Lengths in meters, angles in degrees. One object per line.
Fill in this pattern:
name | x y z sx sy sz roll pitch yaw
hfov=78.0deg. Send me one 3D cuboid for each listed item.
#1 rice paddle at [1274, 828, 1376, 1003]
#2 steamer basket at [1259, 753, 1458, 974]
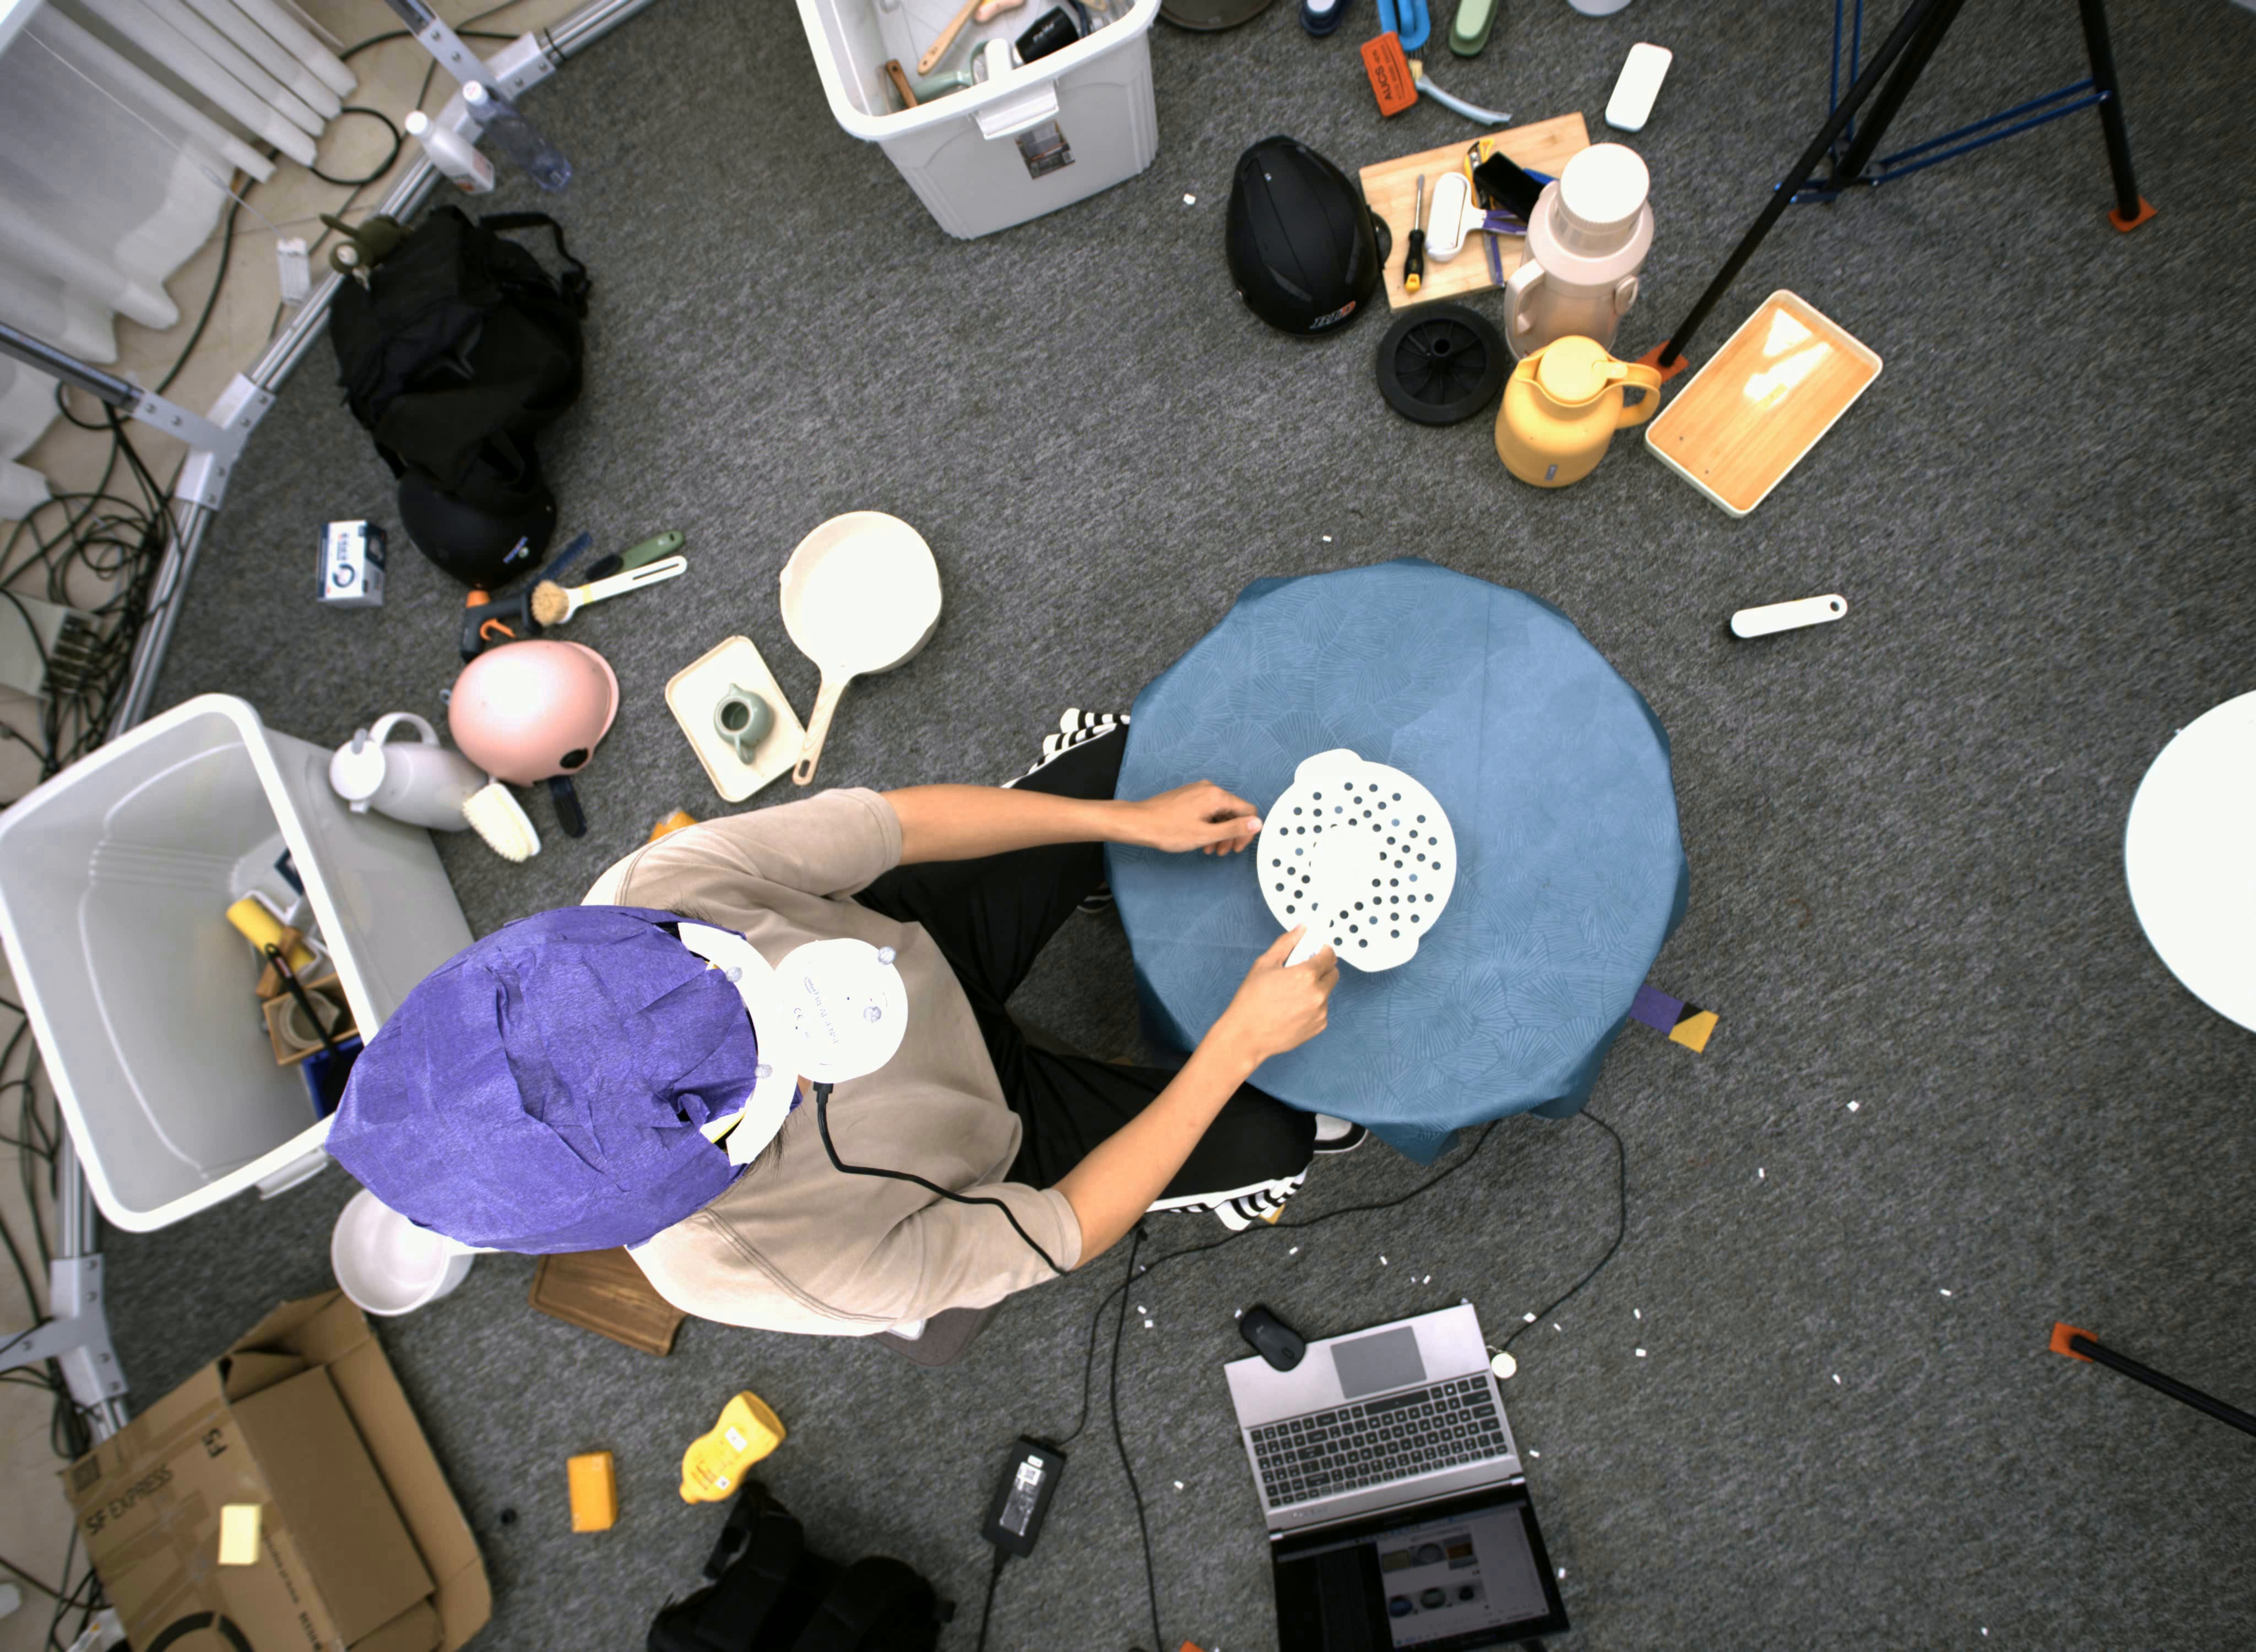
rice paddle | 0.195 0.082 1.379 0.069 0.030 0.201 26 63 3
steamer basket | 0.239 0.040 1.437 0.203 0.069 0.228 -17 81 9
